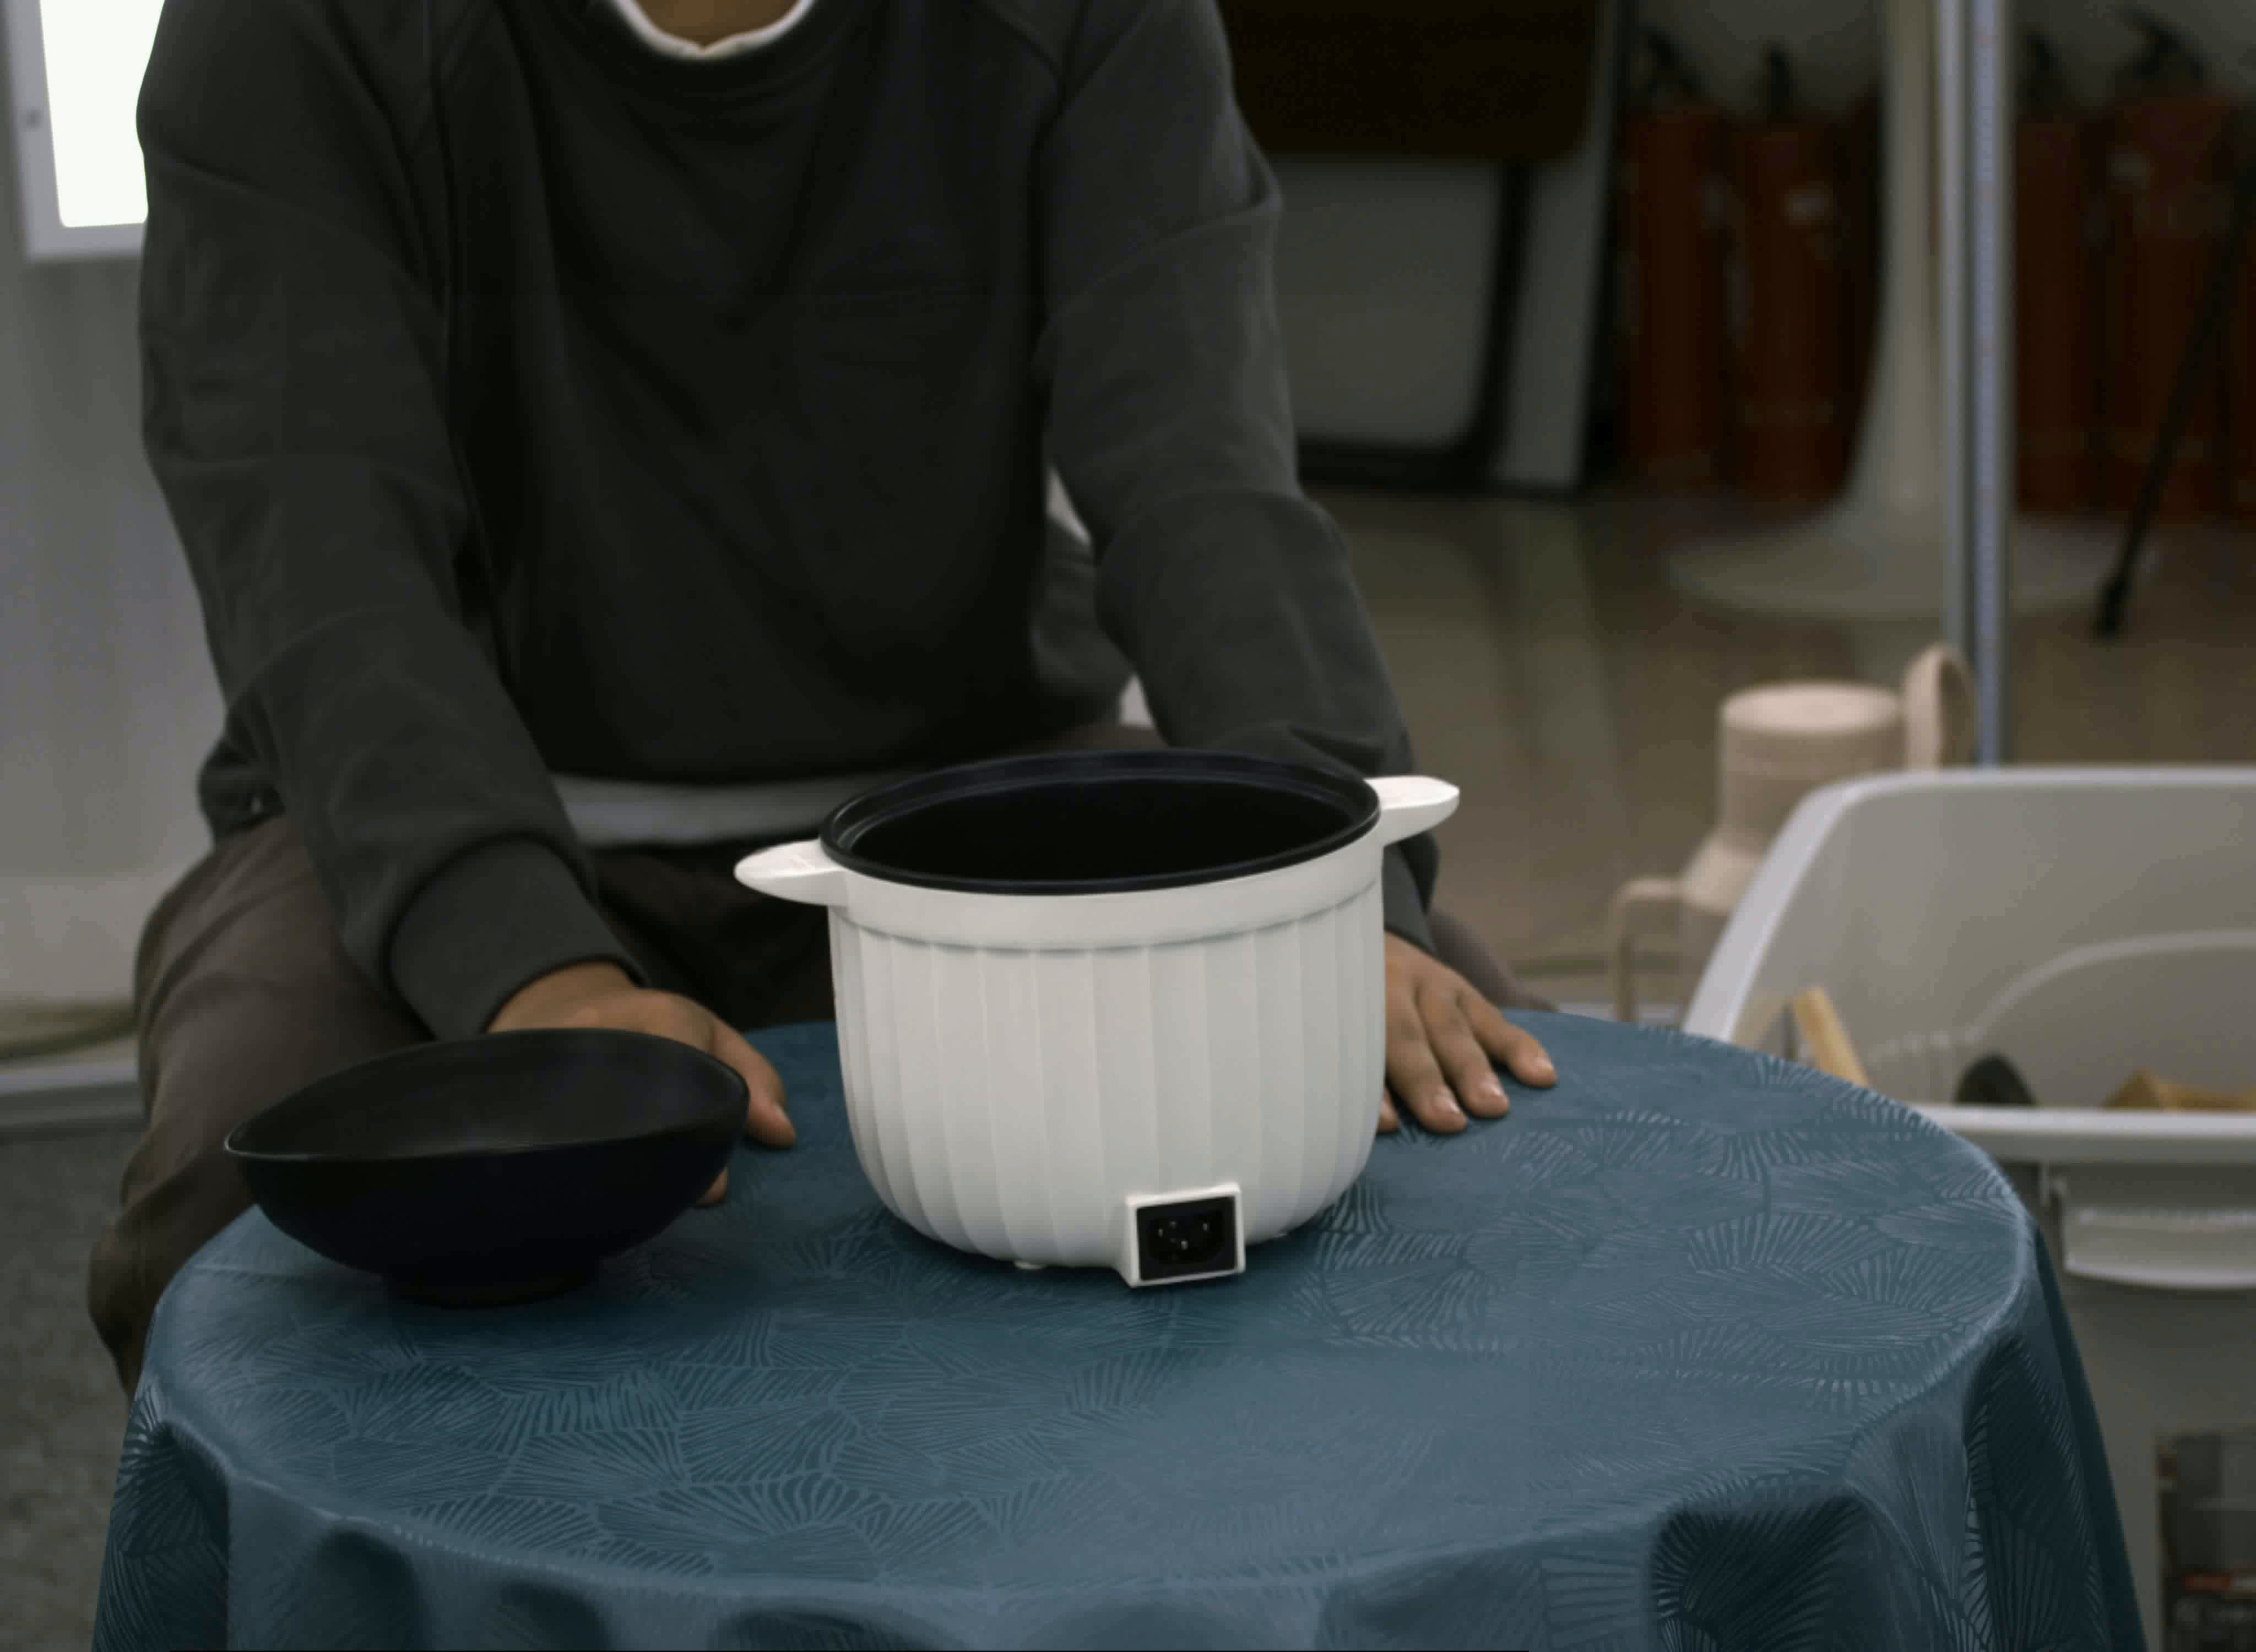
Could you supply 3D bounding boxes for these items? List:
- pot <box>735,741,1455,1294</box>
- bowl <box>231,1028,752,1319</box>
[{"bbox_3d":[-0.008,0.059,1.740,0.236,0.144,0.192,-6,16,-13],"label":"pot"},{"bbox_3d":[-0.201,0.116,1.720,0.168,0.067,0.137,-4,13,5],"label":"bowl"}]
